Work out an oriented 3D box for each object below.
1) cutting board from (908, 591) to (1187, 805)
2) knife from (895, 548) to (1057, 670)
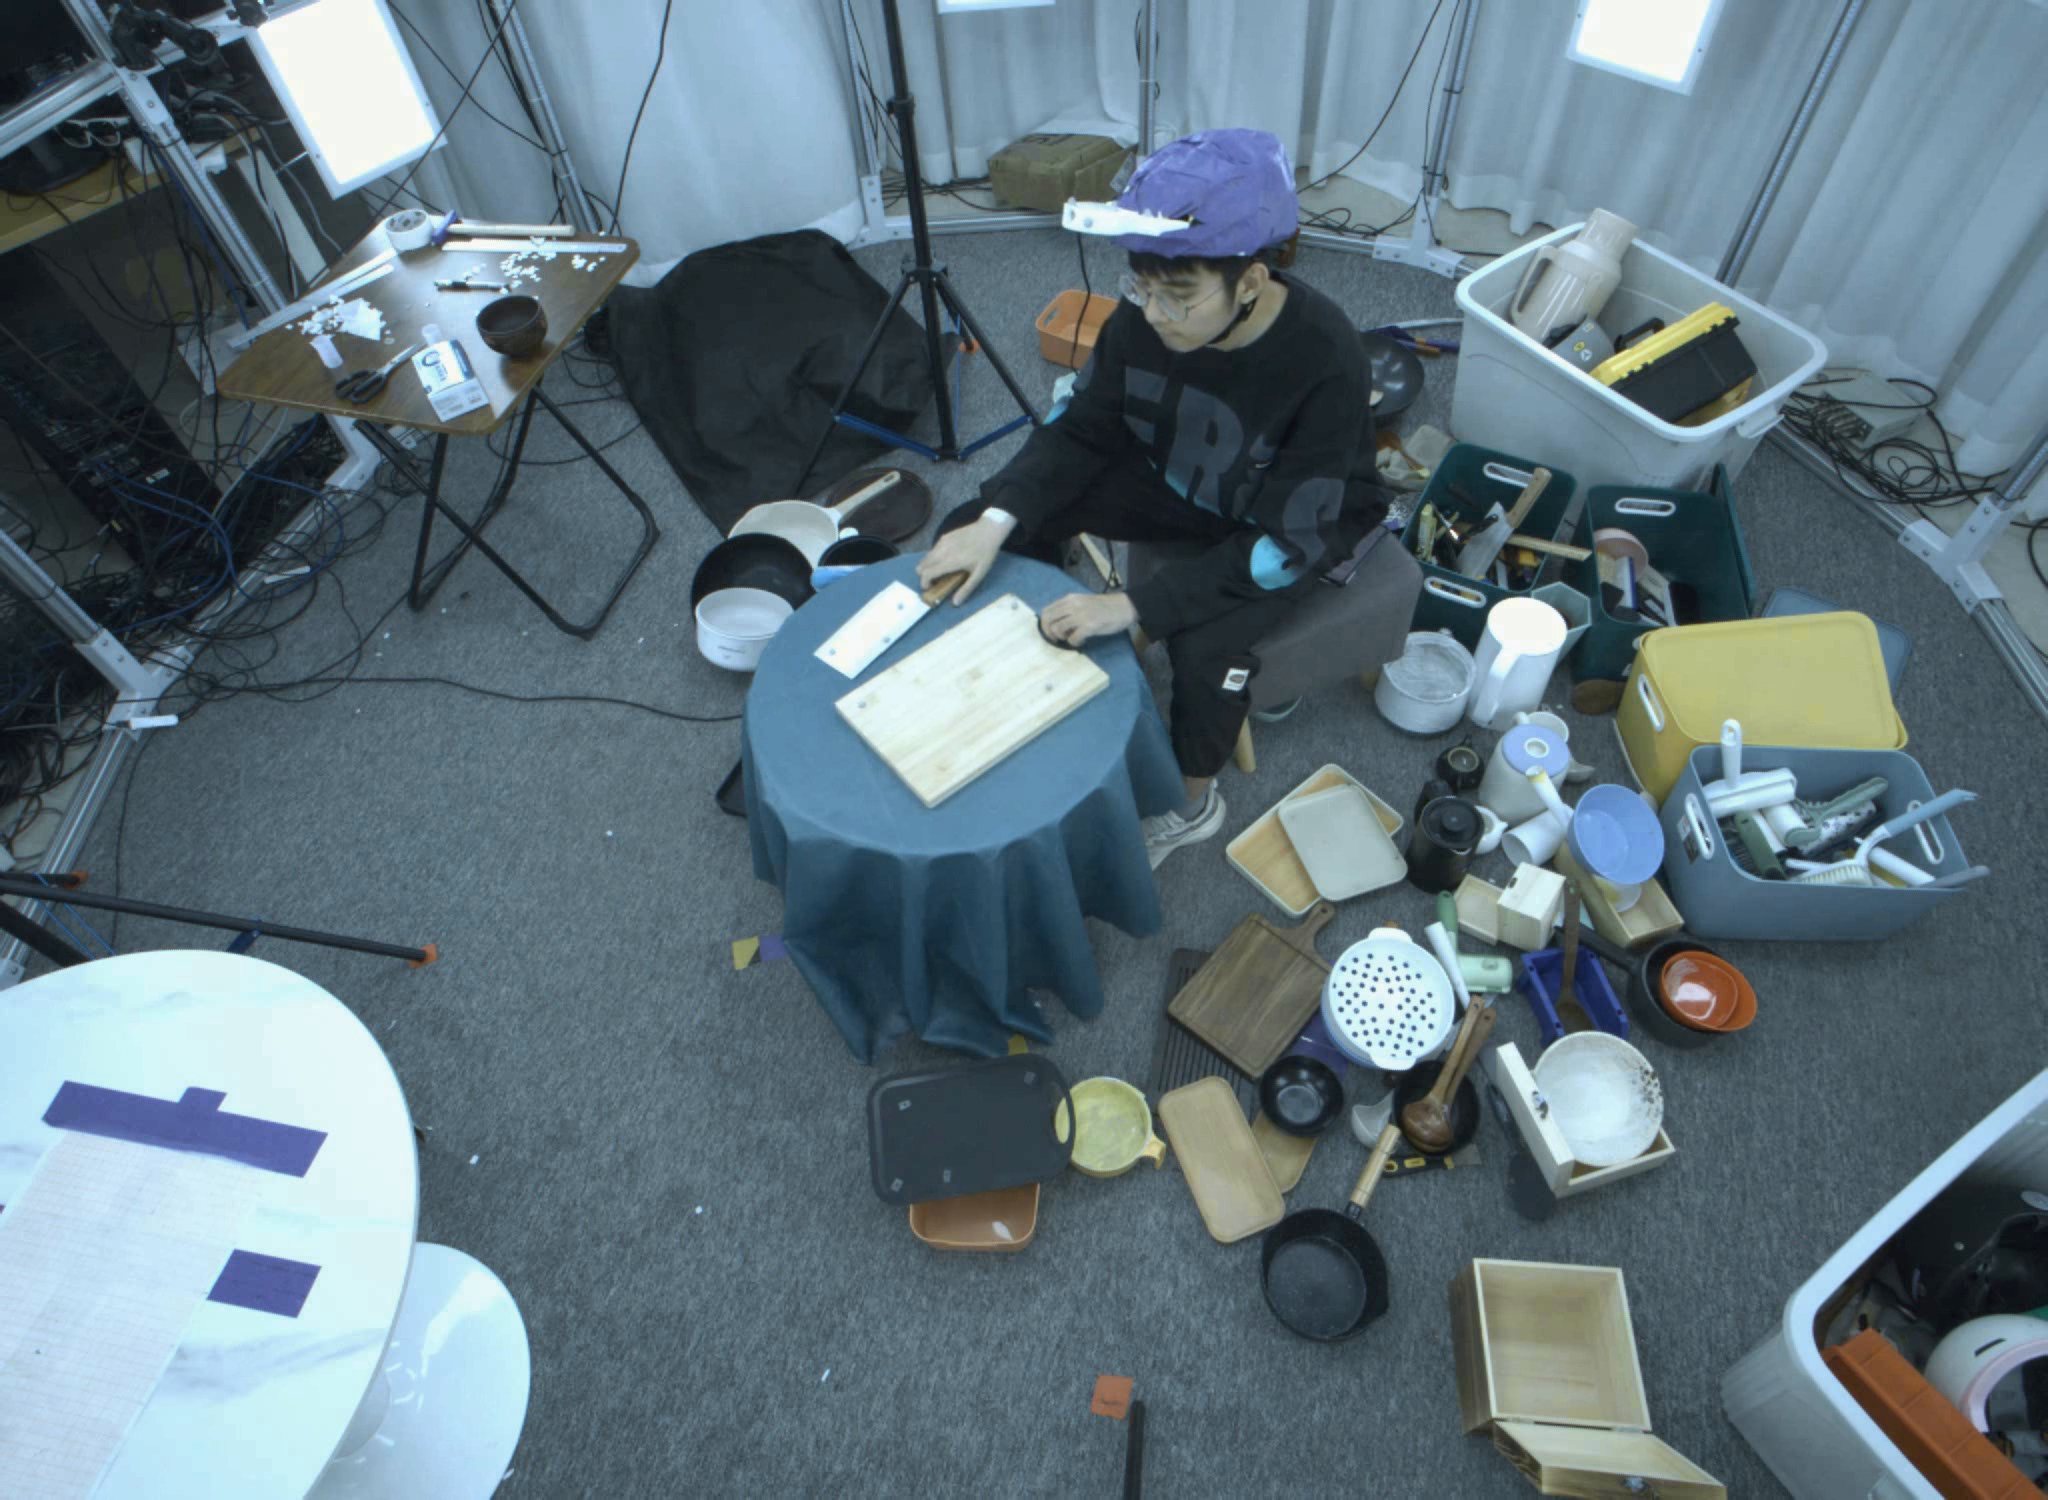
[{"bbox_3d":[0.031,-0.086,1.837,0.351,0.024,0.246,-32,60,-19],"label":"cutting board"},{"bbox_3d":[-0.080,-0.238,1.949,0.091,0.021,0.307,37,66,26],"label":"knife"}]
